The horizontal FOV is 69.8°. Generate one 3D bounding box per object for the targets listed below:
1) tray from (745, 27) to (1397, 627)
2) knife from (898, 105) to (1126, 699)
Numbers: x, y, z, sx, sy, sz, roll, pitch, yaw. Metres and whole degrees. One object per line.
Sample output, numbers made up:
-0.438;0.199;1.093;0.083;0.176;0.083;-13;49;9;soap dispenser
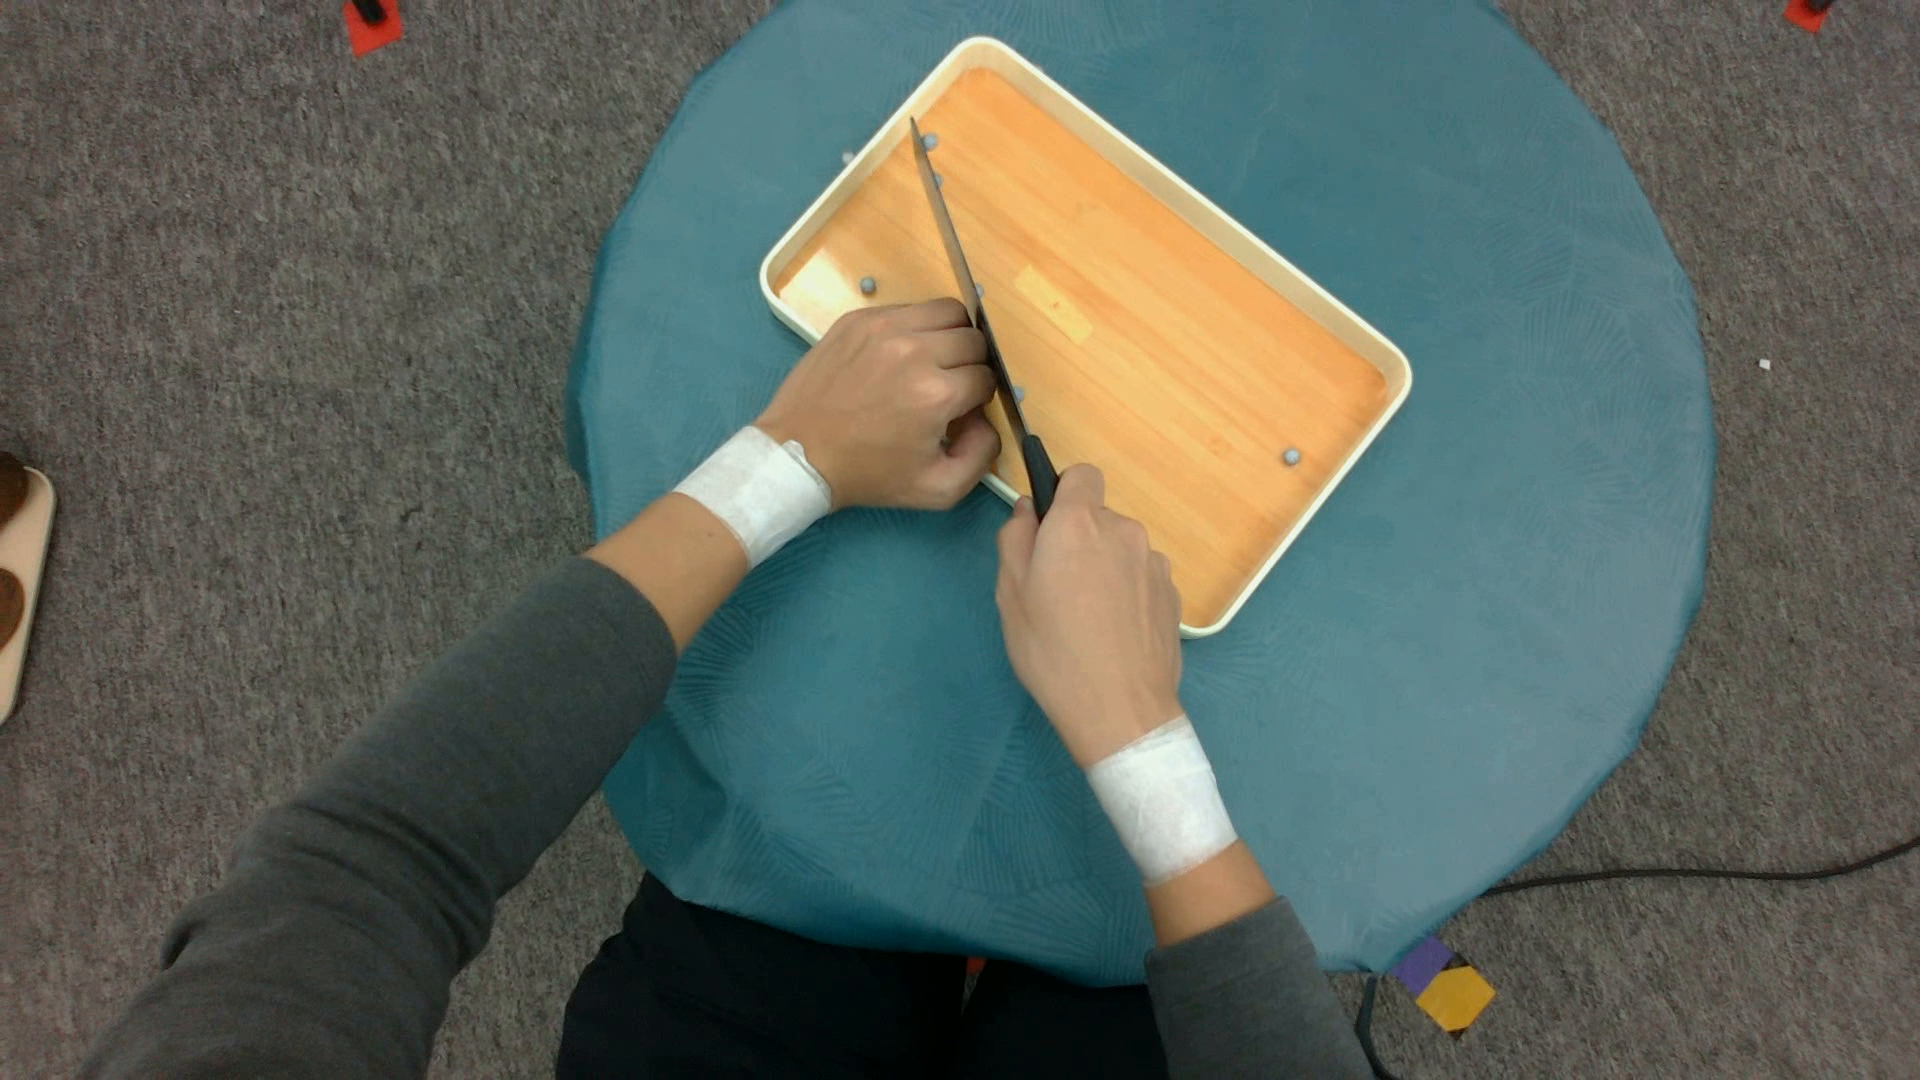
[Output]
0.057;-0.114;0.718;0.300;0.027;0.192;39;79;5;tray
0.019;-0.068;0.666;0.021;0.081;0.303;-19;76;-2;knife
